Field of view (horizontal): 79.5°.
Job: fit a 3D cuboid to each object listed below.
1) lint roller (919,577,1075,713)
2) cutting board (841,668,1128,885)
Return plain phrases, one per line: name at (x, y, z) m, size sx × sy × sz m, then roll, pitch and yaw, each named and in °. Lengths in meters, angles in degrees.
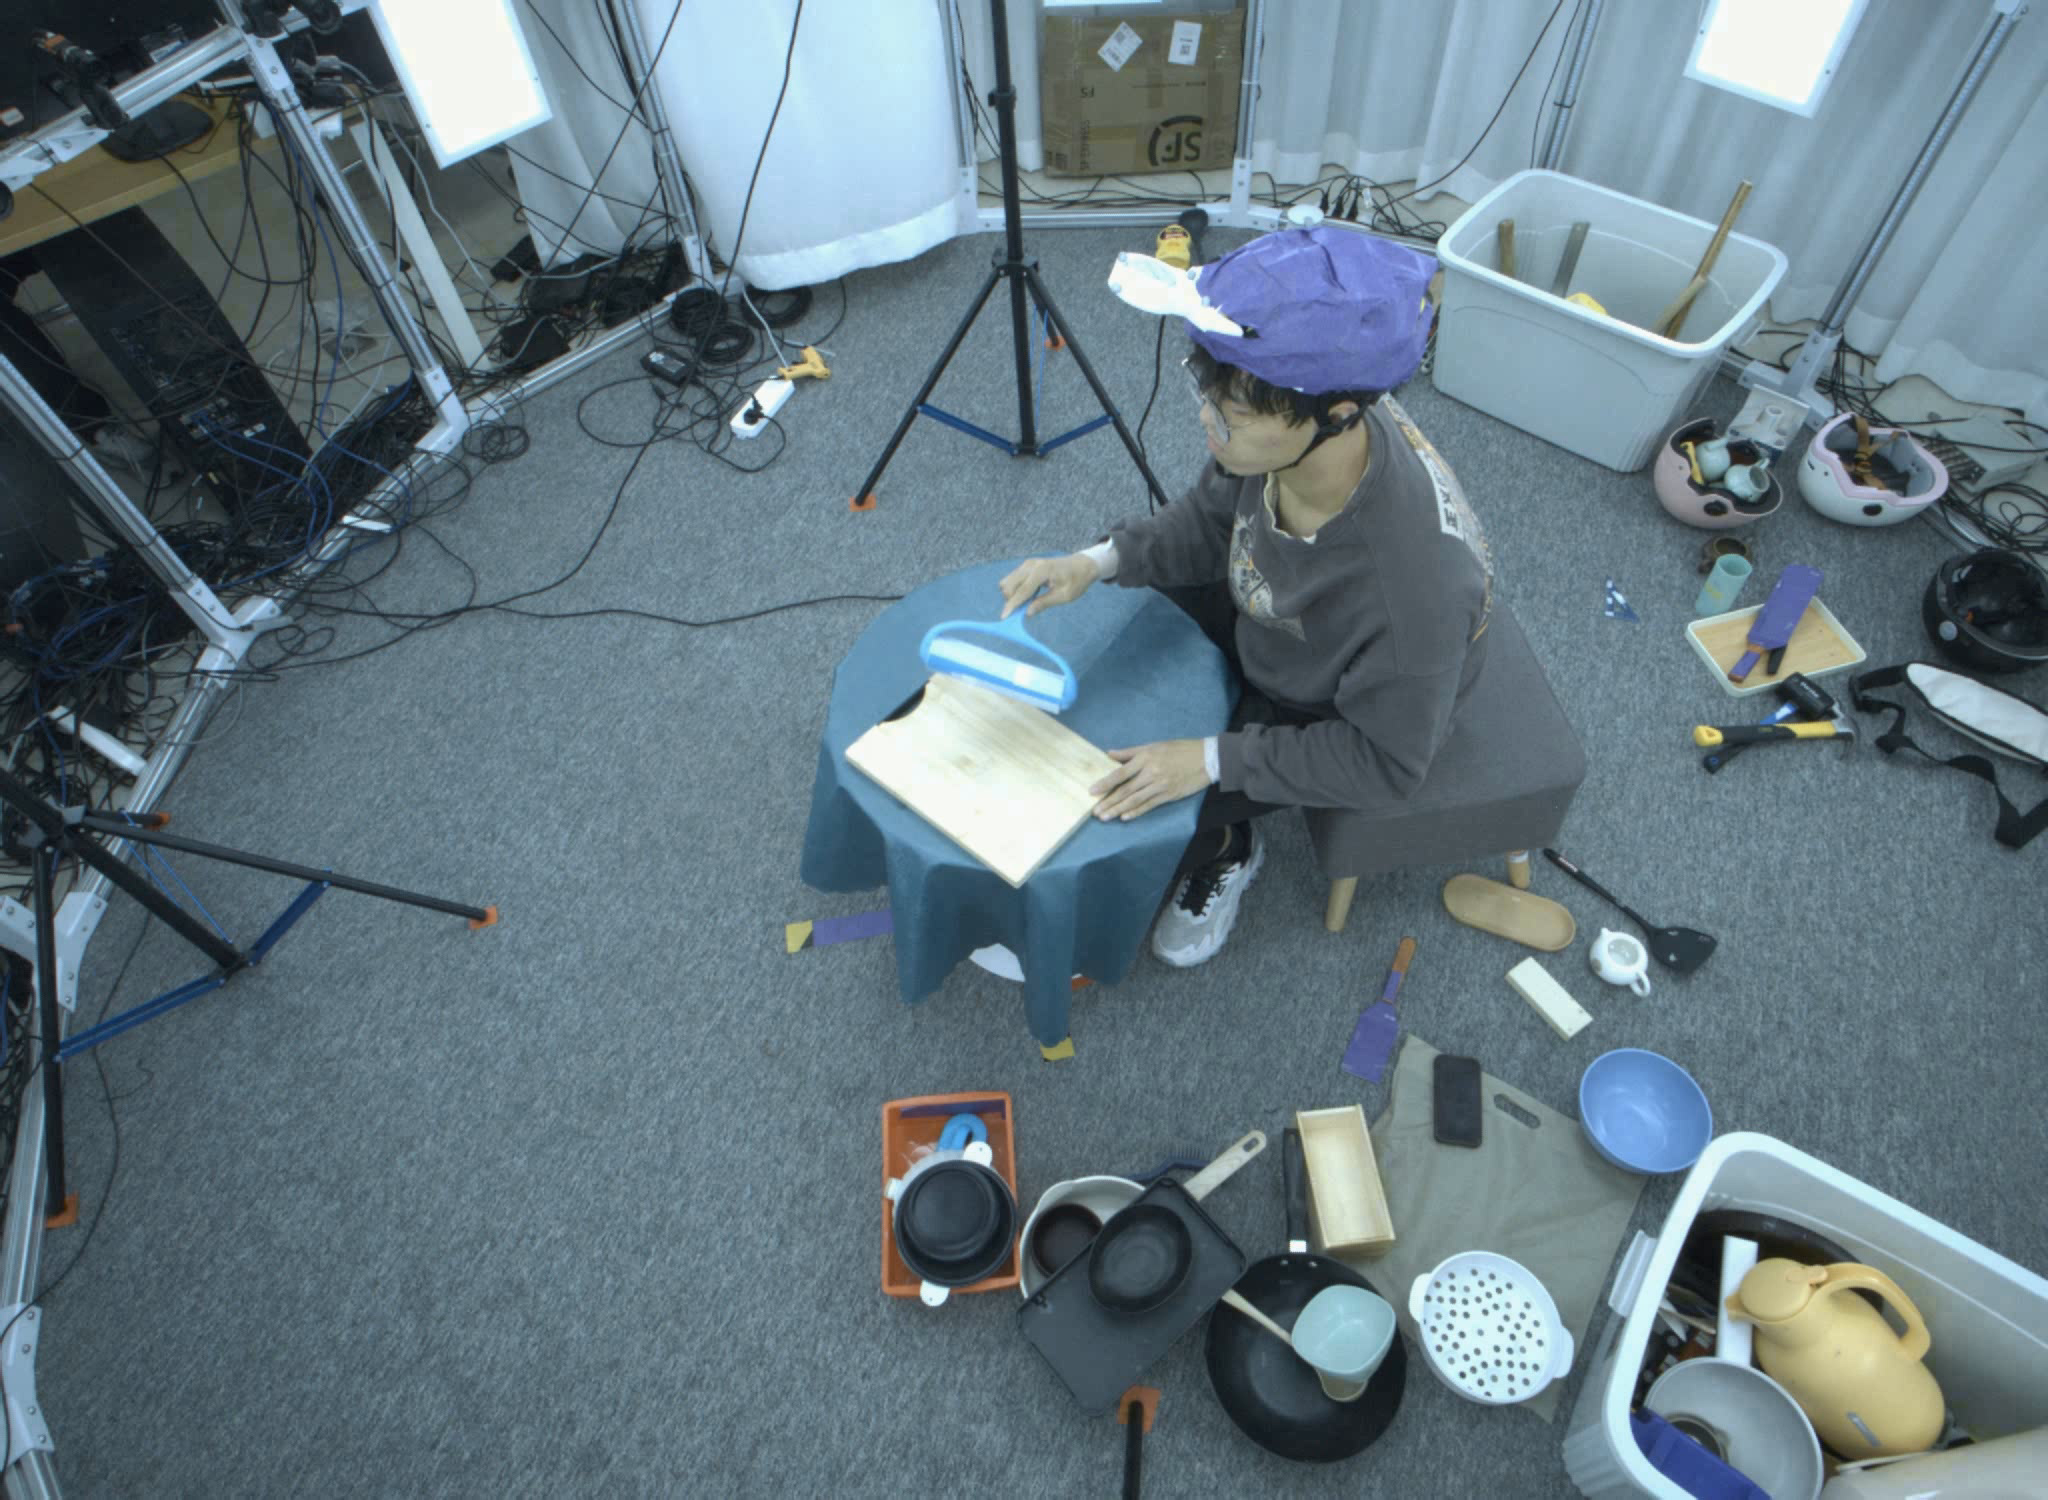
lint roller at (-0.019, -0.167, 1.715) m, size 0.229 × 0.068 × 0.180 m, roll 19°, pitch 83°, yaw 1°
cutting board at (-0.059, 0.017, 1.765) m, size 0.342 × 0.024 × 0.252 m, roll 34°, pitch 62°, yaw 23°
